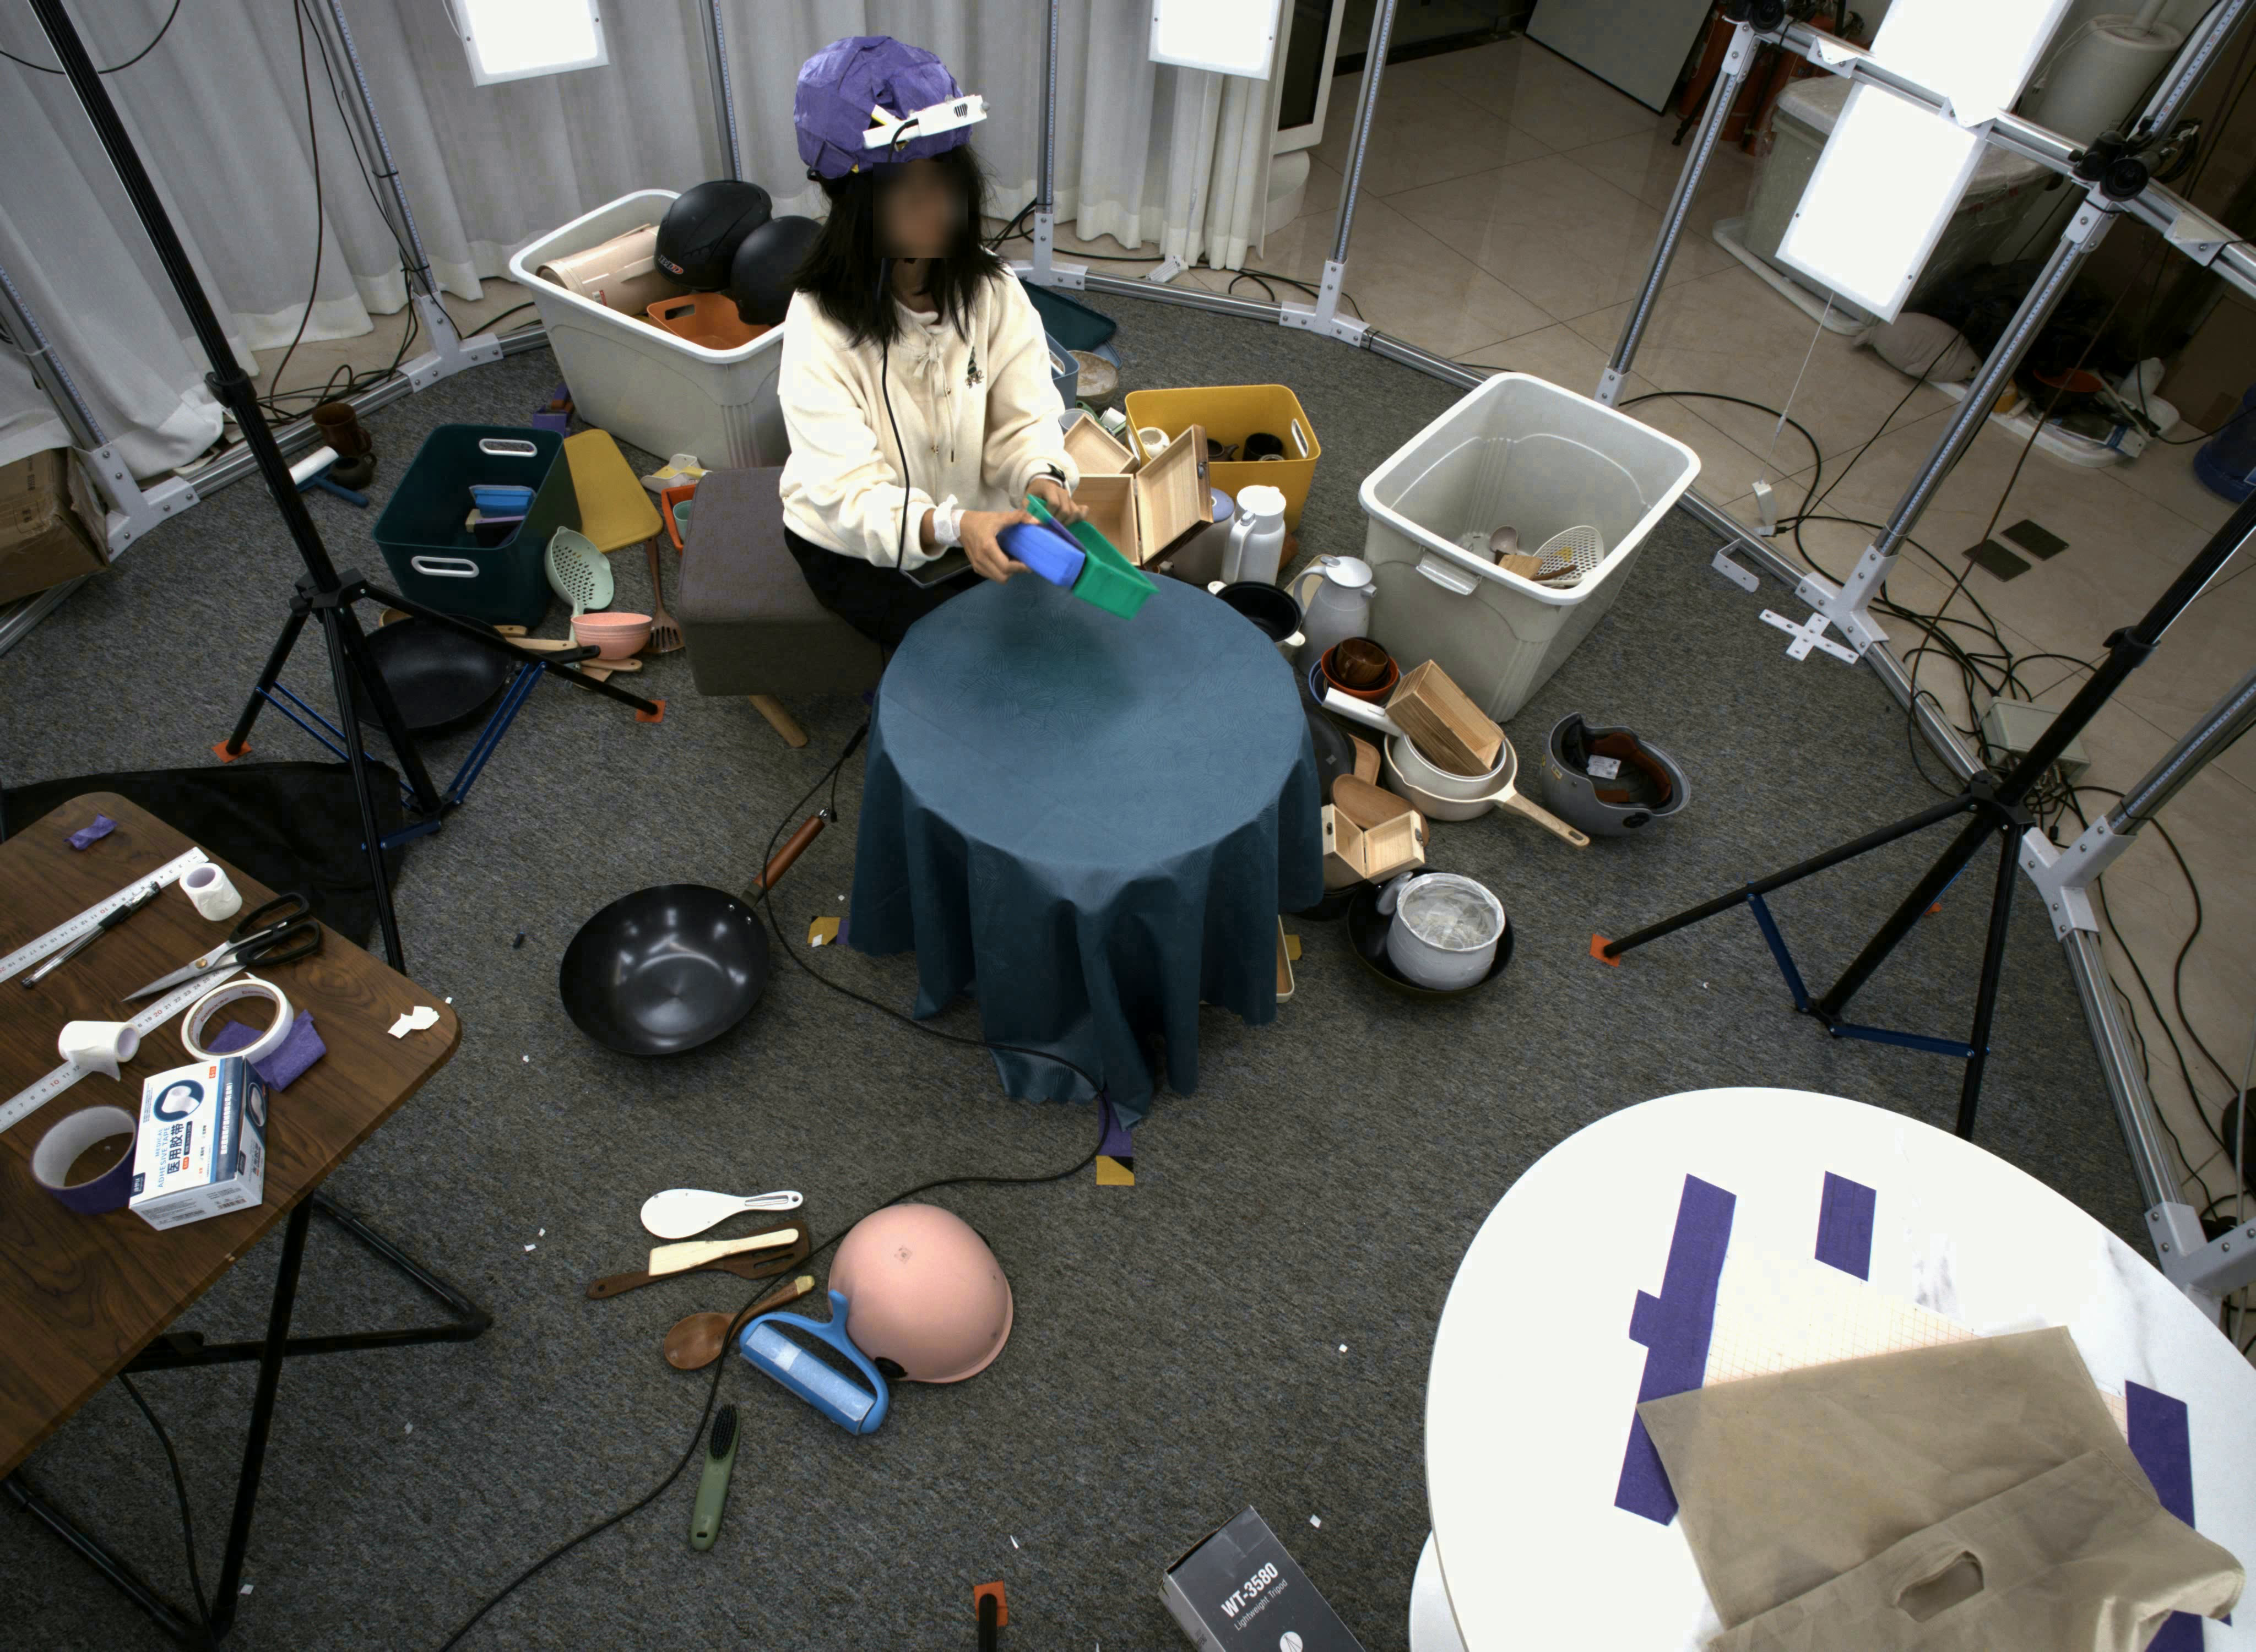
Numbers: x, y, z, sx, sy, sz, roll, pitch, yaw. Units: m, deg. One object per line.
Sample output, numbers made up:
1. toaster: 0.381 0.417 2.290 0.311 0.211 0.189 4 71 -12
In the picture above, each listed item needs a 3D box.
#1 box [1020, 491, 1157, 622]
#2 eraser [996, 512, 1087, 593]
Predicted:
1. box: -0.065 -0.376 1.819 0.137 0.064 0.215 14 31 -48
2. eraser: -0.123 -0.374 1.751 0.047 0.053 0.165 13 21 -46
